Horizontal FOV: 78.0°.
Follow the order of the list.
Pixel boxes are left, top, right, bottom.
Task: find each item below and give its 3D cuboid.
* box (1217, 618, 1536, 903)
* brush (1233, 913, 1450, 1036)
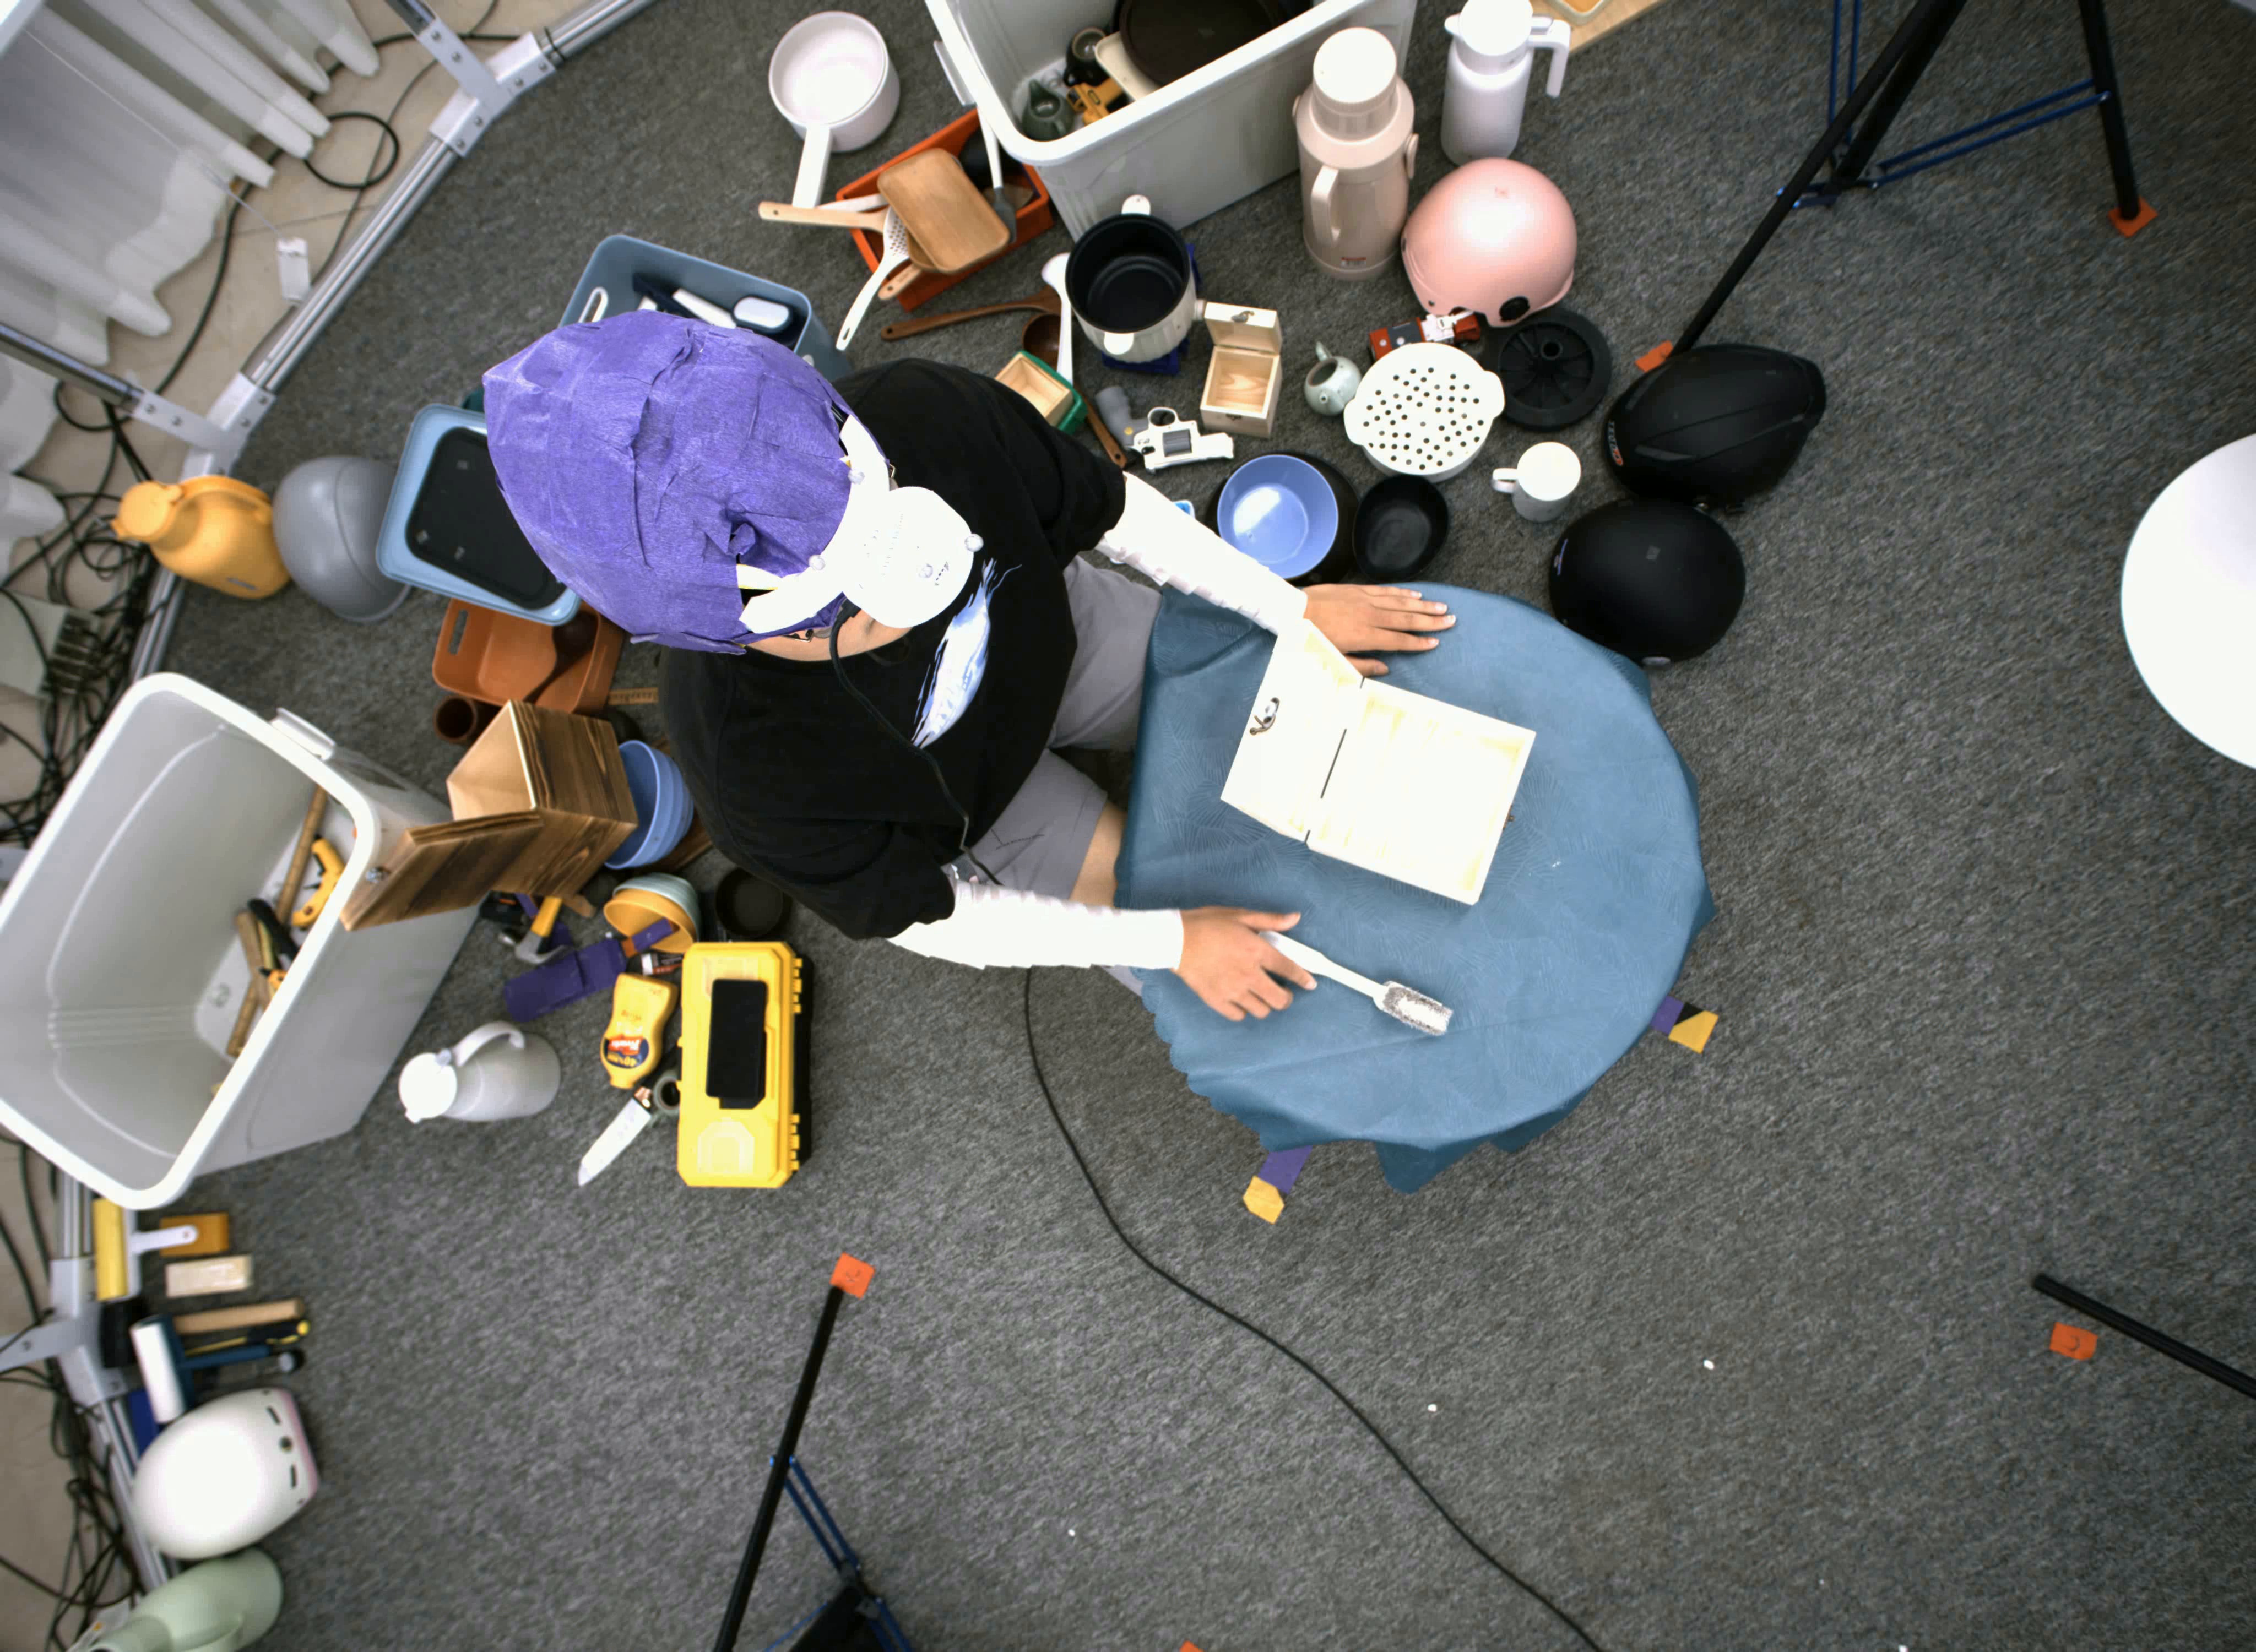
[{"bbox_3d":[0.253,-0.056,1.343,0.265,0.253,0.182,19,90,12],"label":"box"},{"bbox_3d":[0.218,0.150,1.439,0.243,0.050,0.034,26,90,11],"label":"brush"}]
